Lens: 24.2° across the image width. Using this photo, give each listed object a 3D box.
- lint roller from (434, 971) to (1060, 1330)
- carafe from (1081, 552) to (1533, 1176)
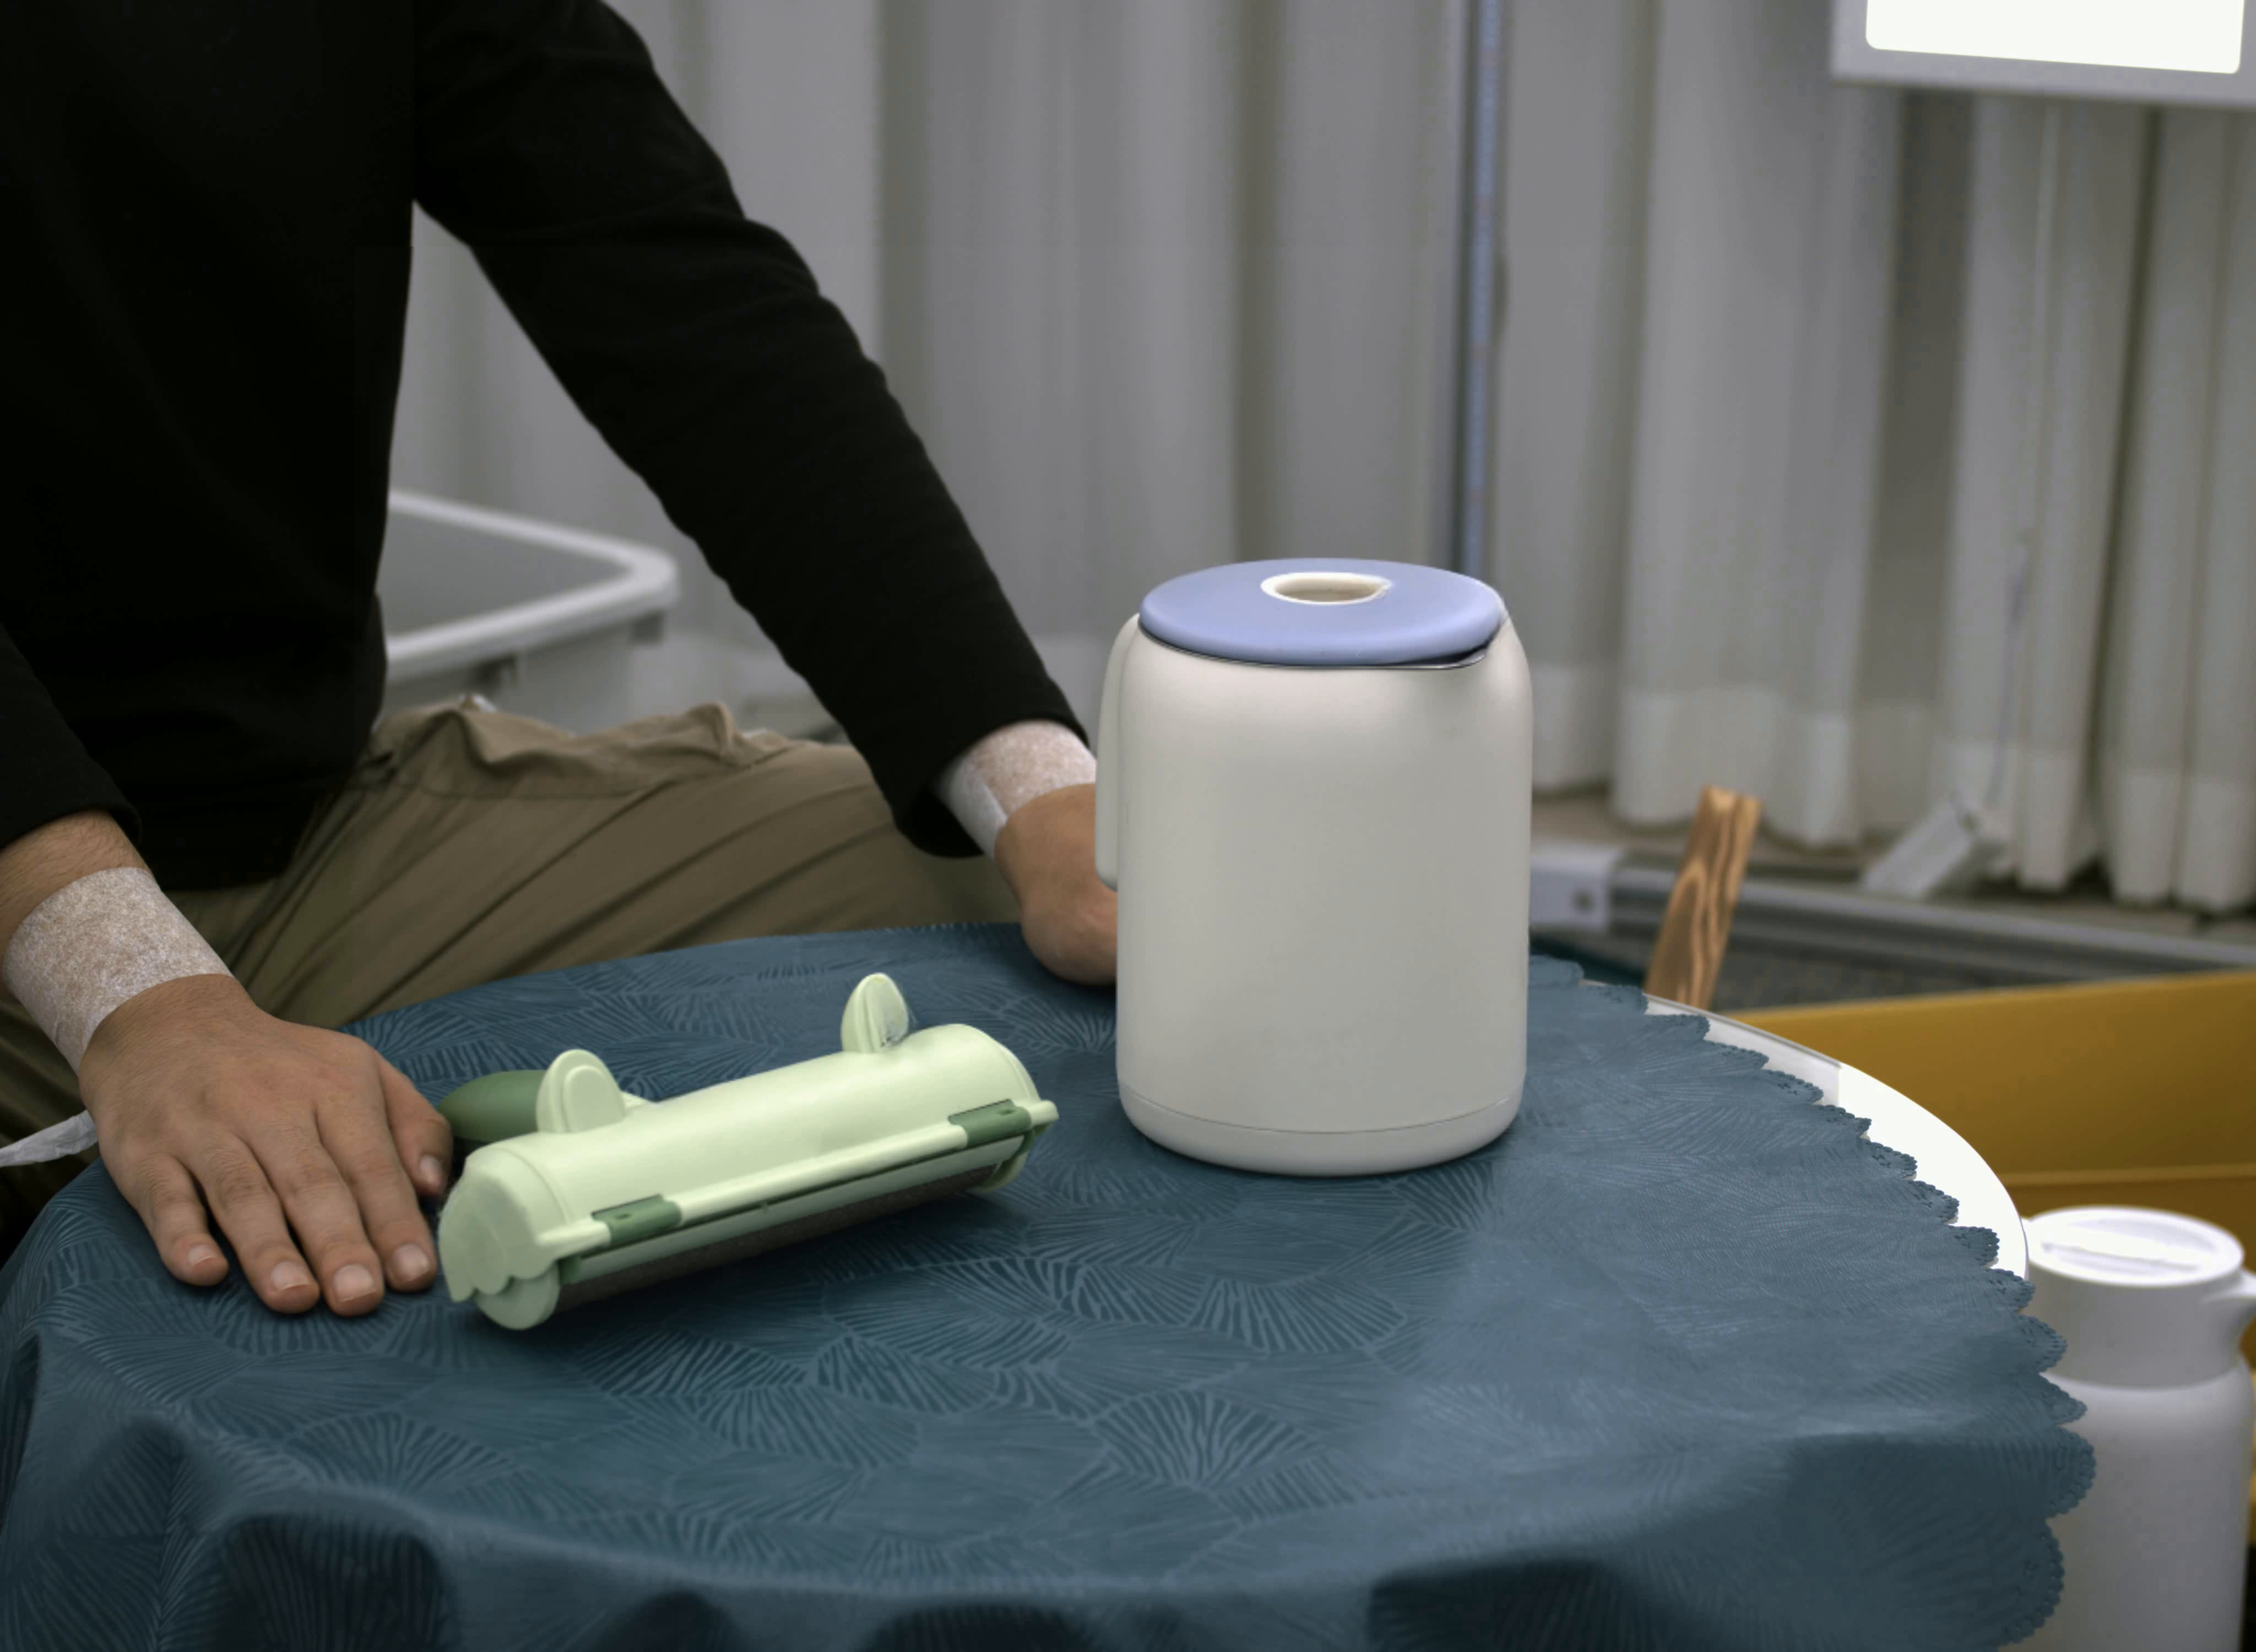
[{"bbox_3d":[-0.149,0.082,1.582,0.199,0.083,0.181,-13,23,-43],"label":"lint roller"},{"bbox_3d":[0.047,0.006,1.683,0.133,0.184,0.188,-11,17,-36],"label":"carafe"}]
